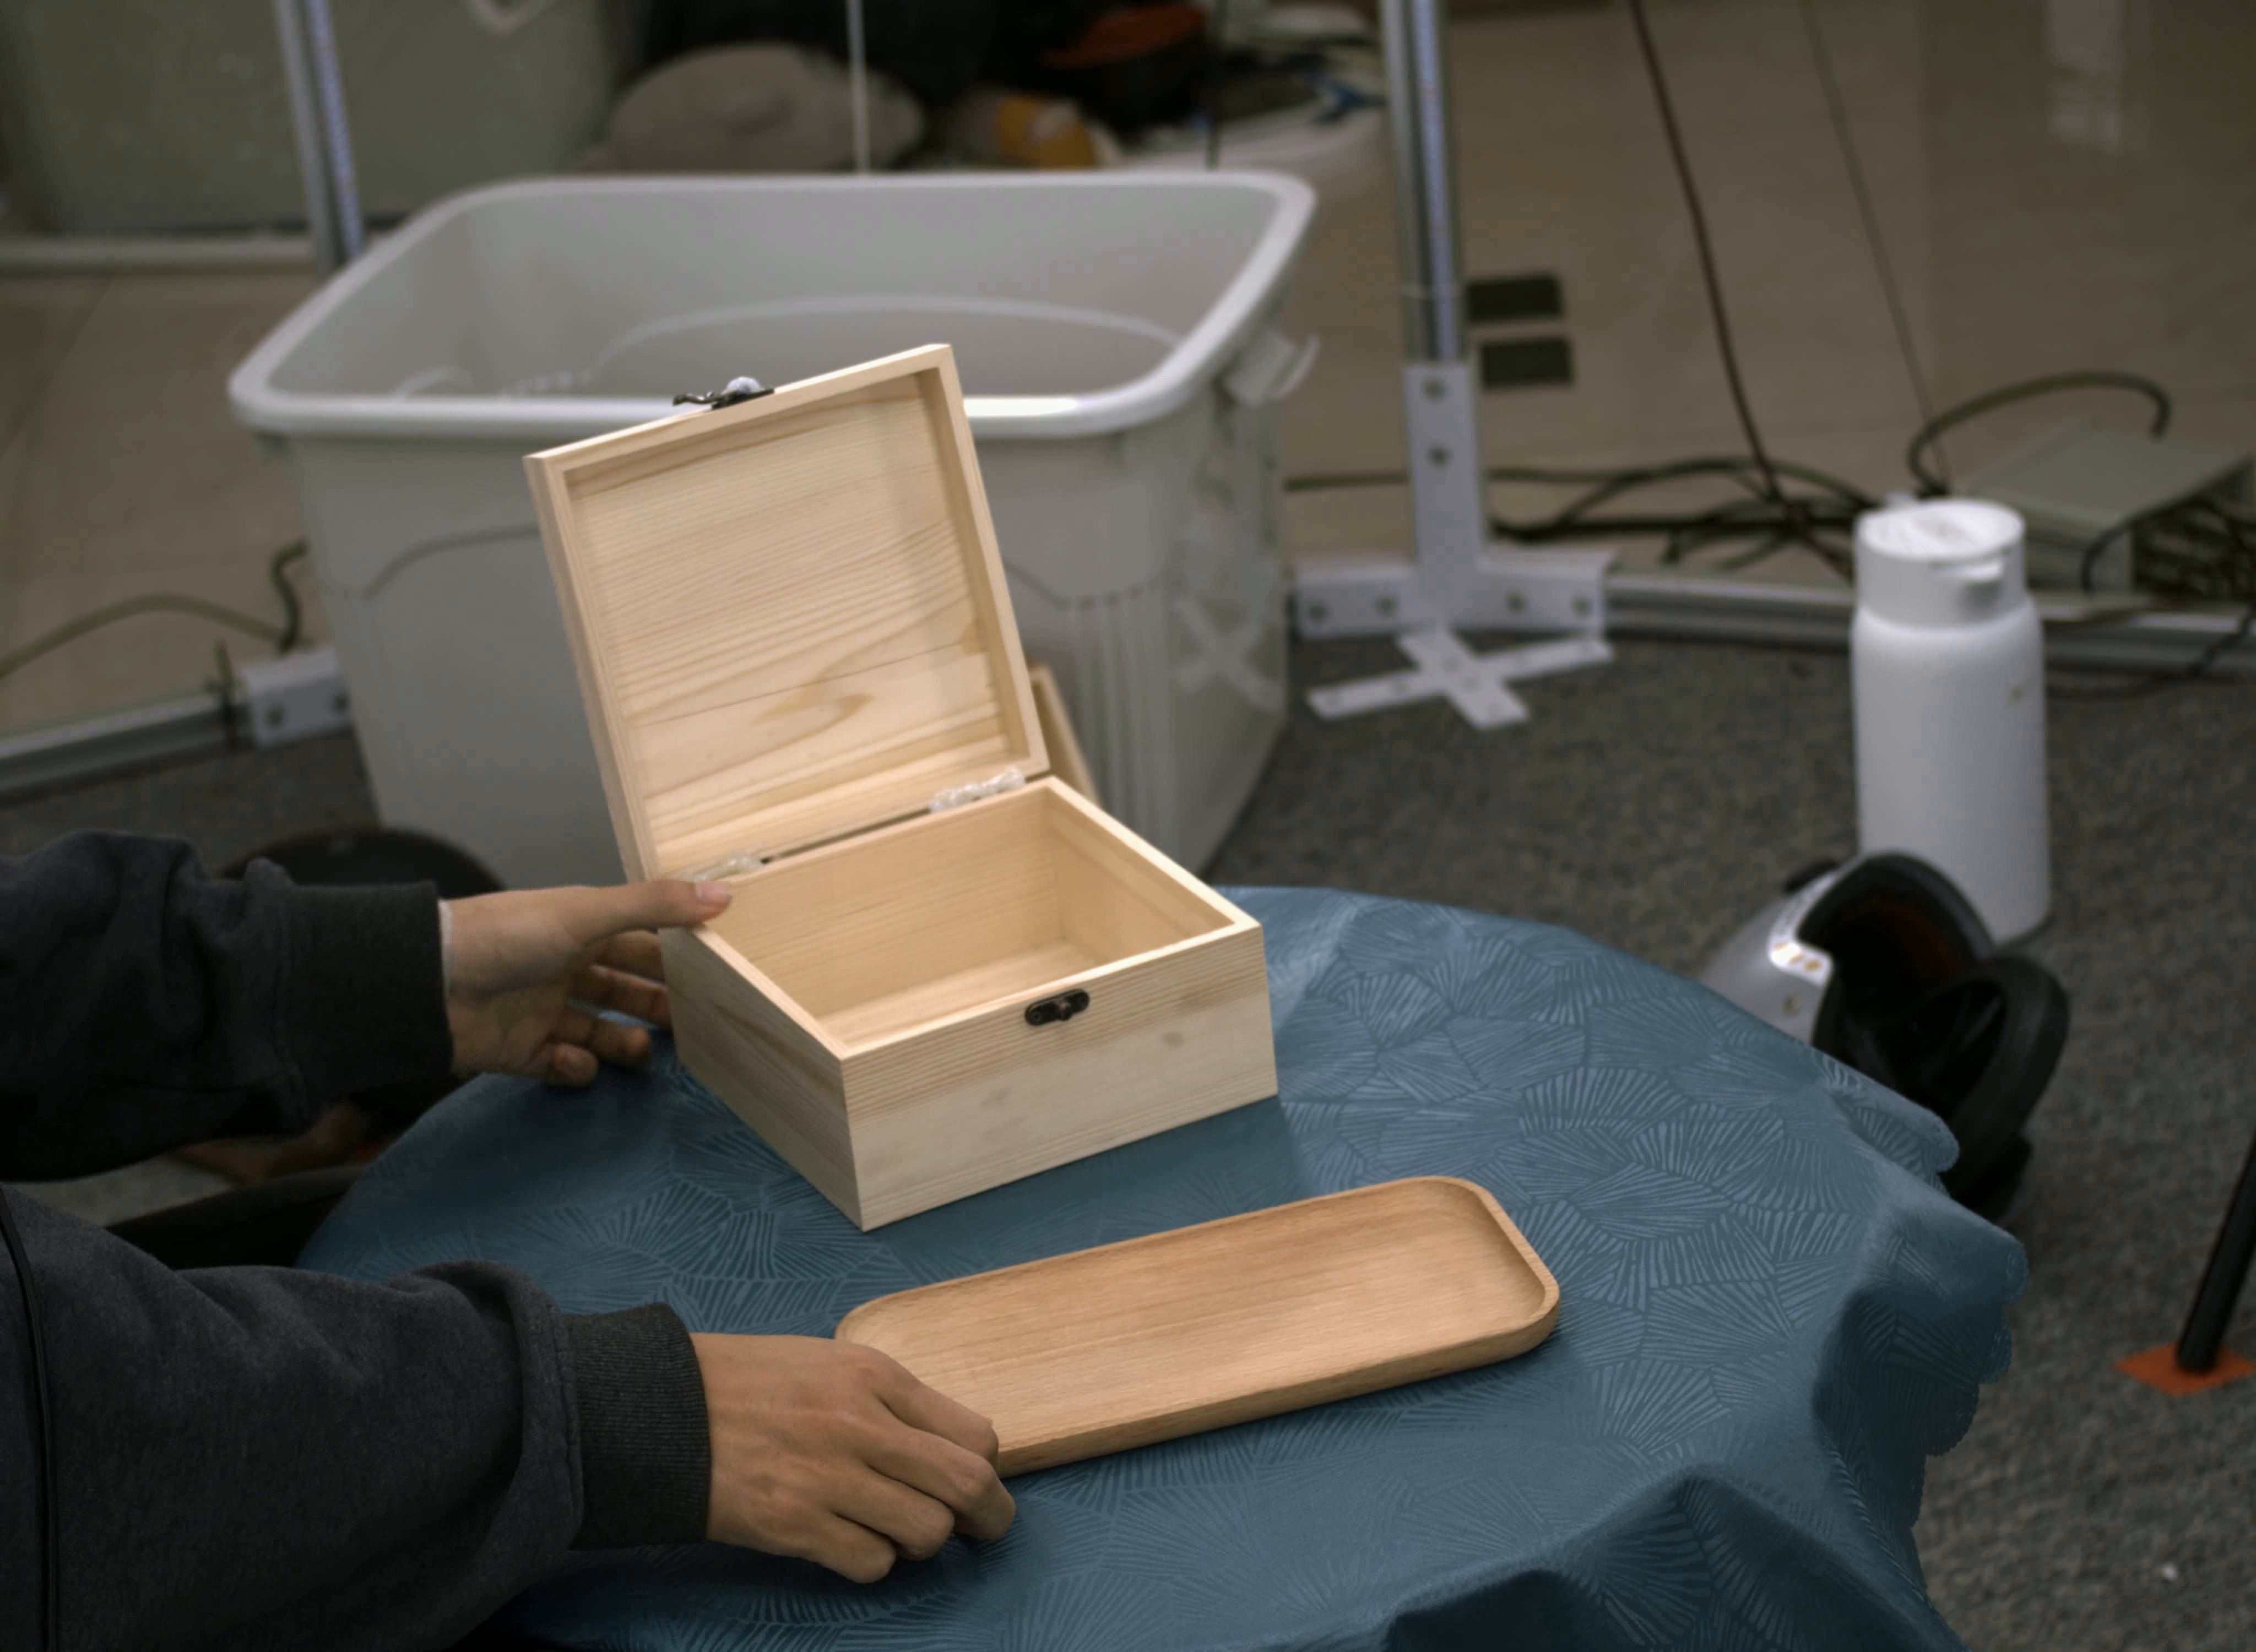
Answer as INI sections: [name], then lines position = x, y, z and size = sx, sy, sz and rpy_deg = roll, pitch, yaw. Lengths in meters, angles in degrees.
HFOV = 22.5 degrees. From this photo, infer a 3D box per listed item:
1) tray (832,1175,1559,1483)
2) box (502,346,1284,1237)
[tray]
position = 0.024, 0.179, 2.033
size = 0.250, 0.023, 0.129
rpy_deg = -12, 22, -11
[box]
position = -0.092, -0.021, 2.219
size = 0.181, 0.257, 0.262
rpy_deg = -21, 27, -22
